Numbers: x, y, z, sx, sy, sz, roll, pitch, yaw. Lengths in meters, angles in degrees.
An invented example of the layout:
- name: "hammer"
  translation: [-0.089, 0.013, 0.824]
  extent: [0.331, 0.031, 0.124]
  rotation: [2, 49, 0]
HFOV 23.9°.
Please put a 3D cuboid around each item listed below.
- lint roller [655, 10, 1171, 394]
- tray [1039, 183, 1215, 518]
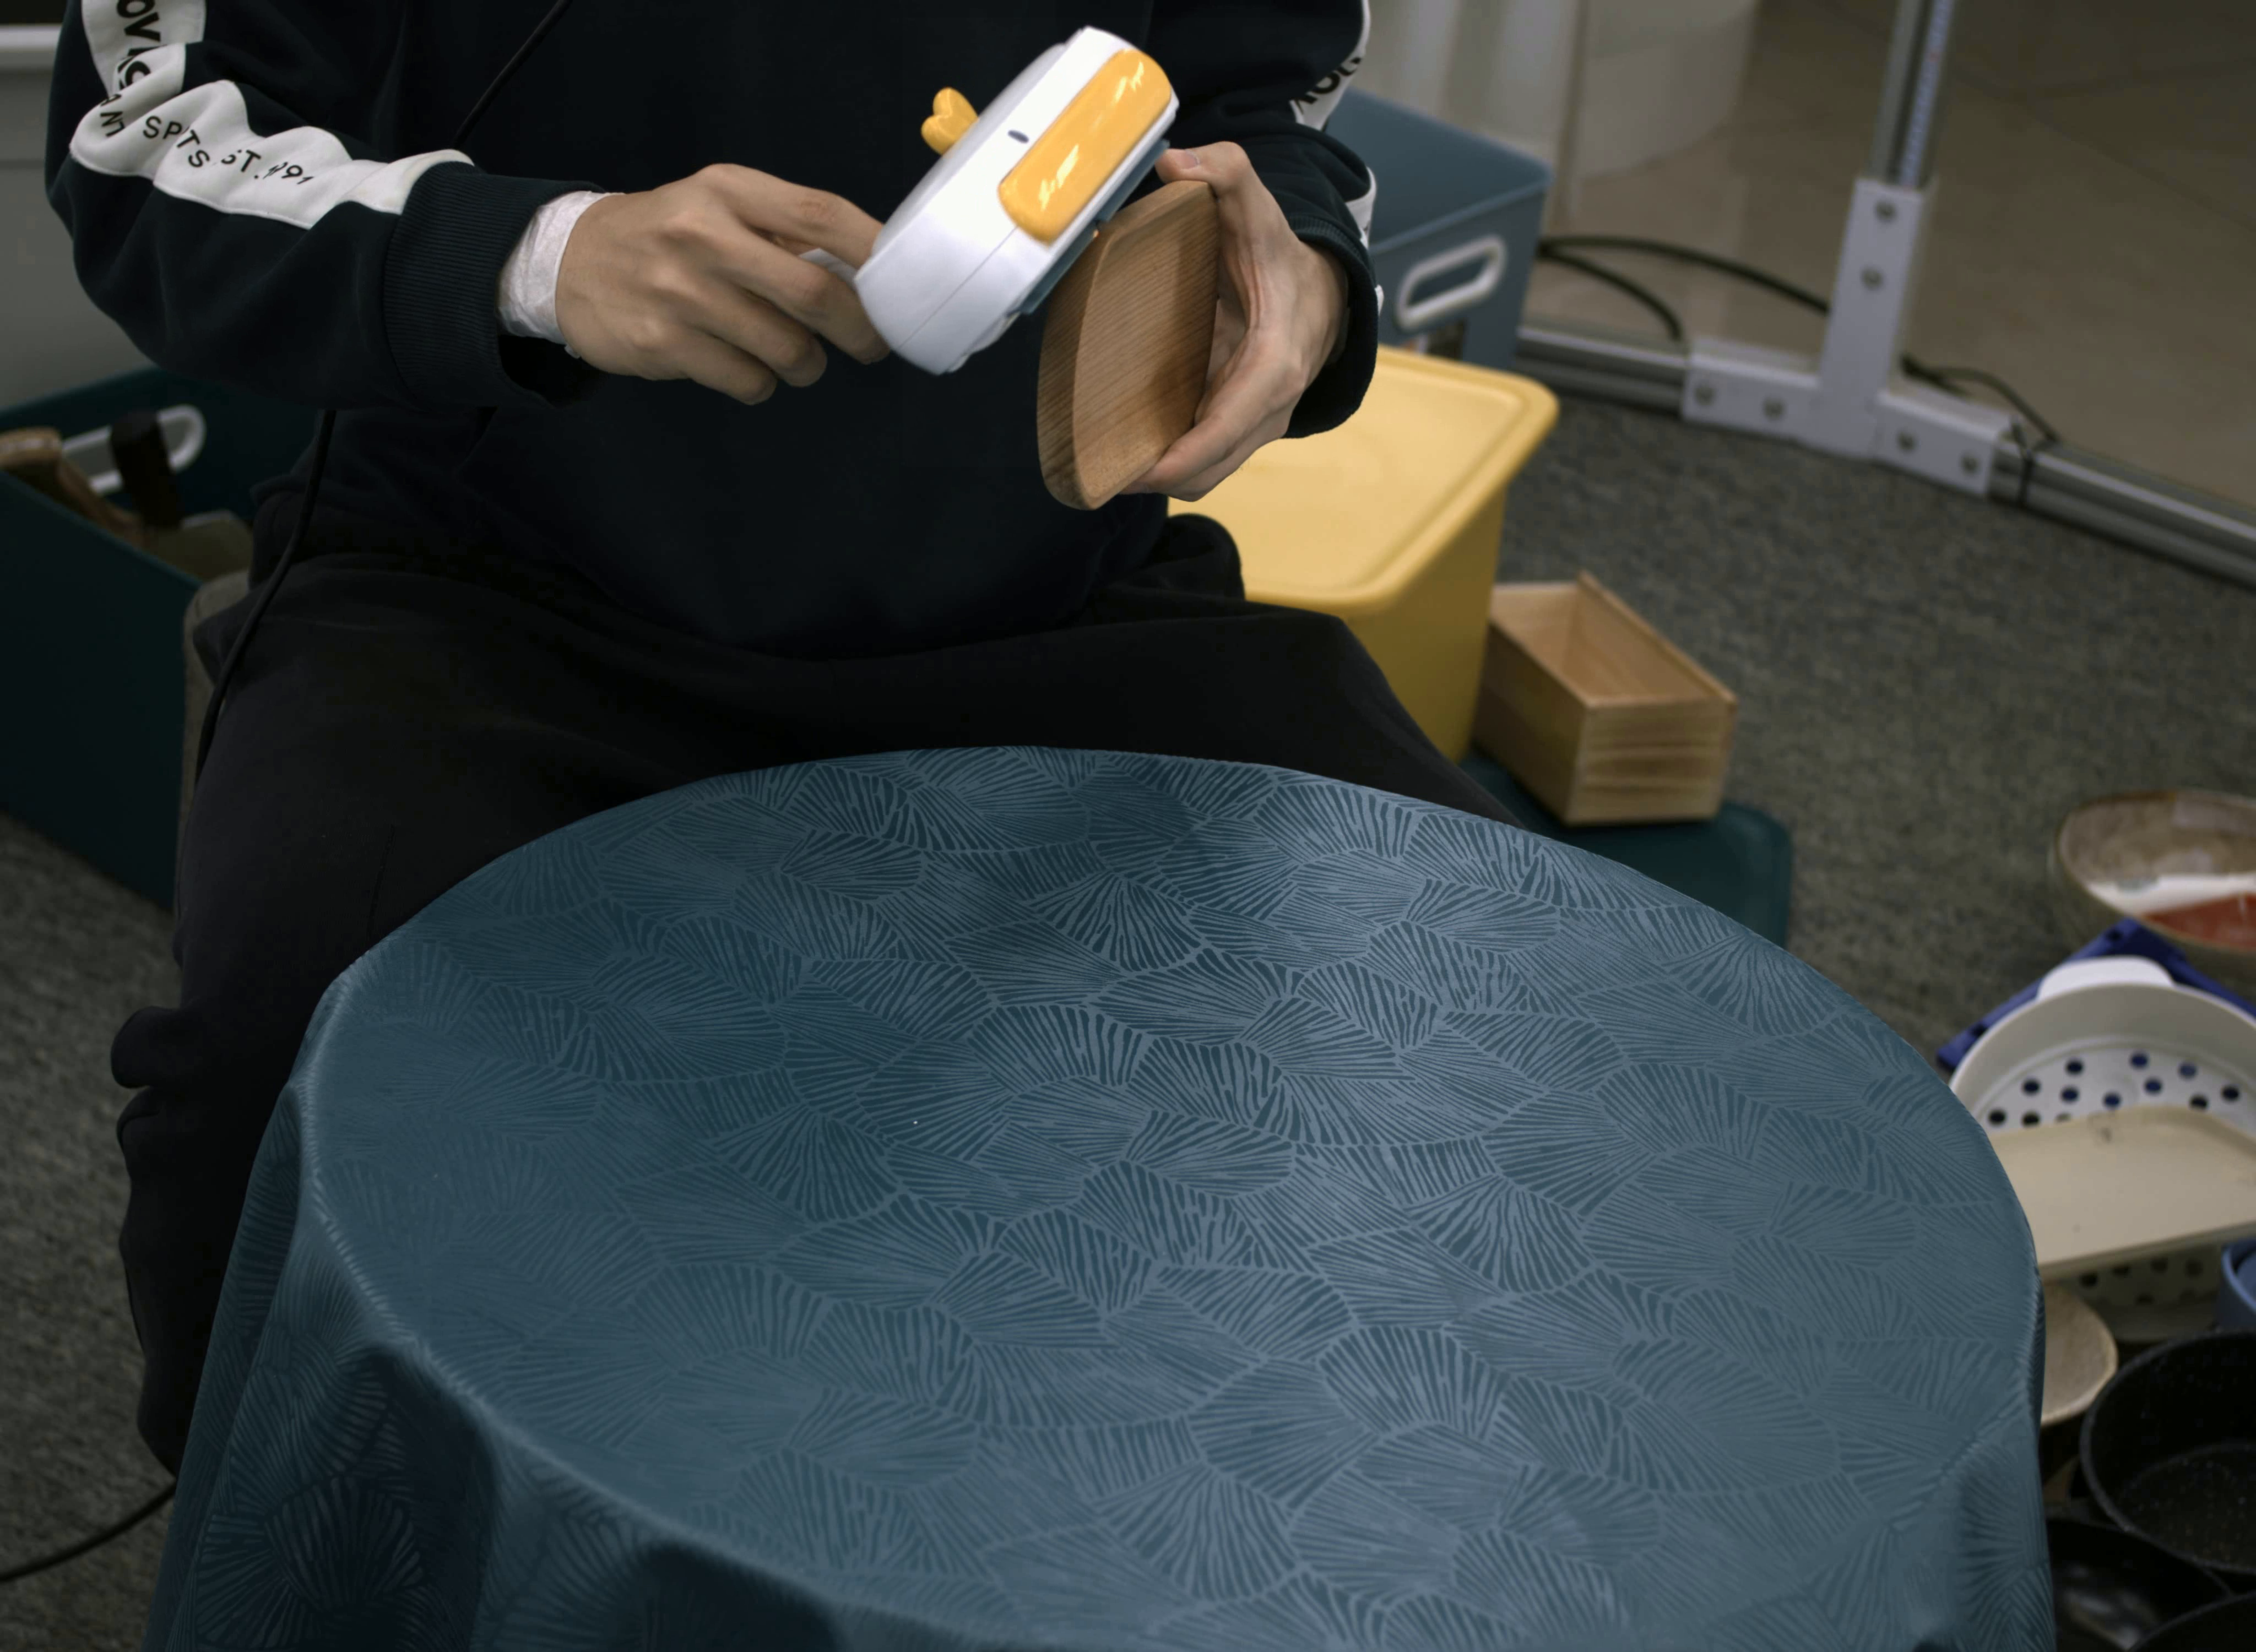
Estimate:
- name: "lint roller"
  translation: [-0.082, -0.199, 1.874]
  extent: [0.074, 0.192, 0.193]
  rotation: [47, 29, -15]
- name: "tray"
  translation: [0.001, -0.175, 1.930]
  extent: [0.020, 0.101, 0.231]
  rotation: [8, 15, 12]
